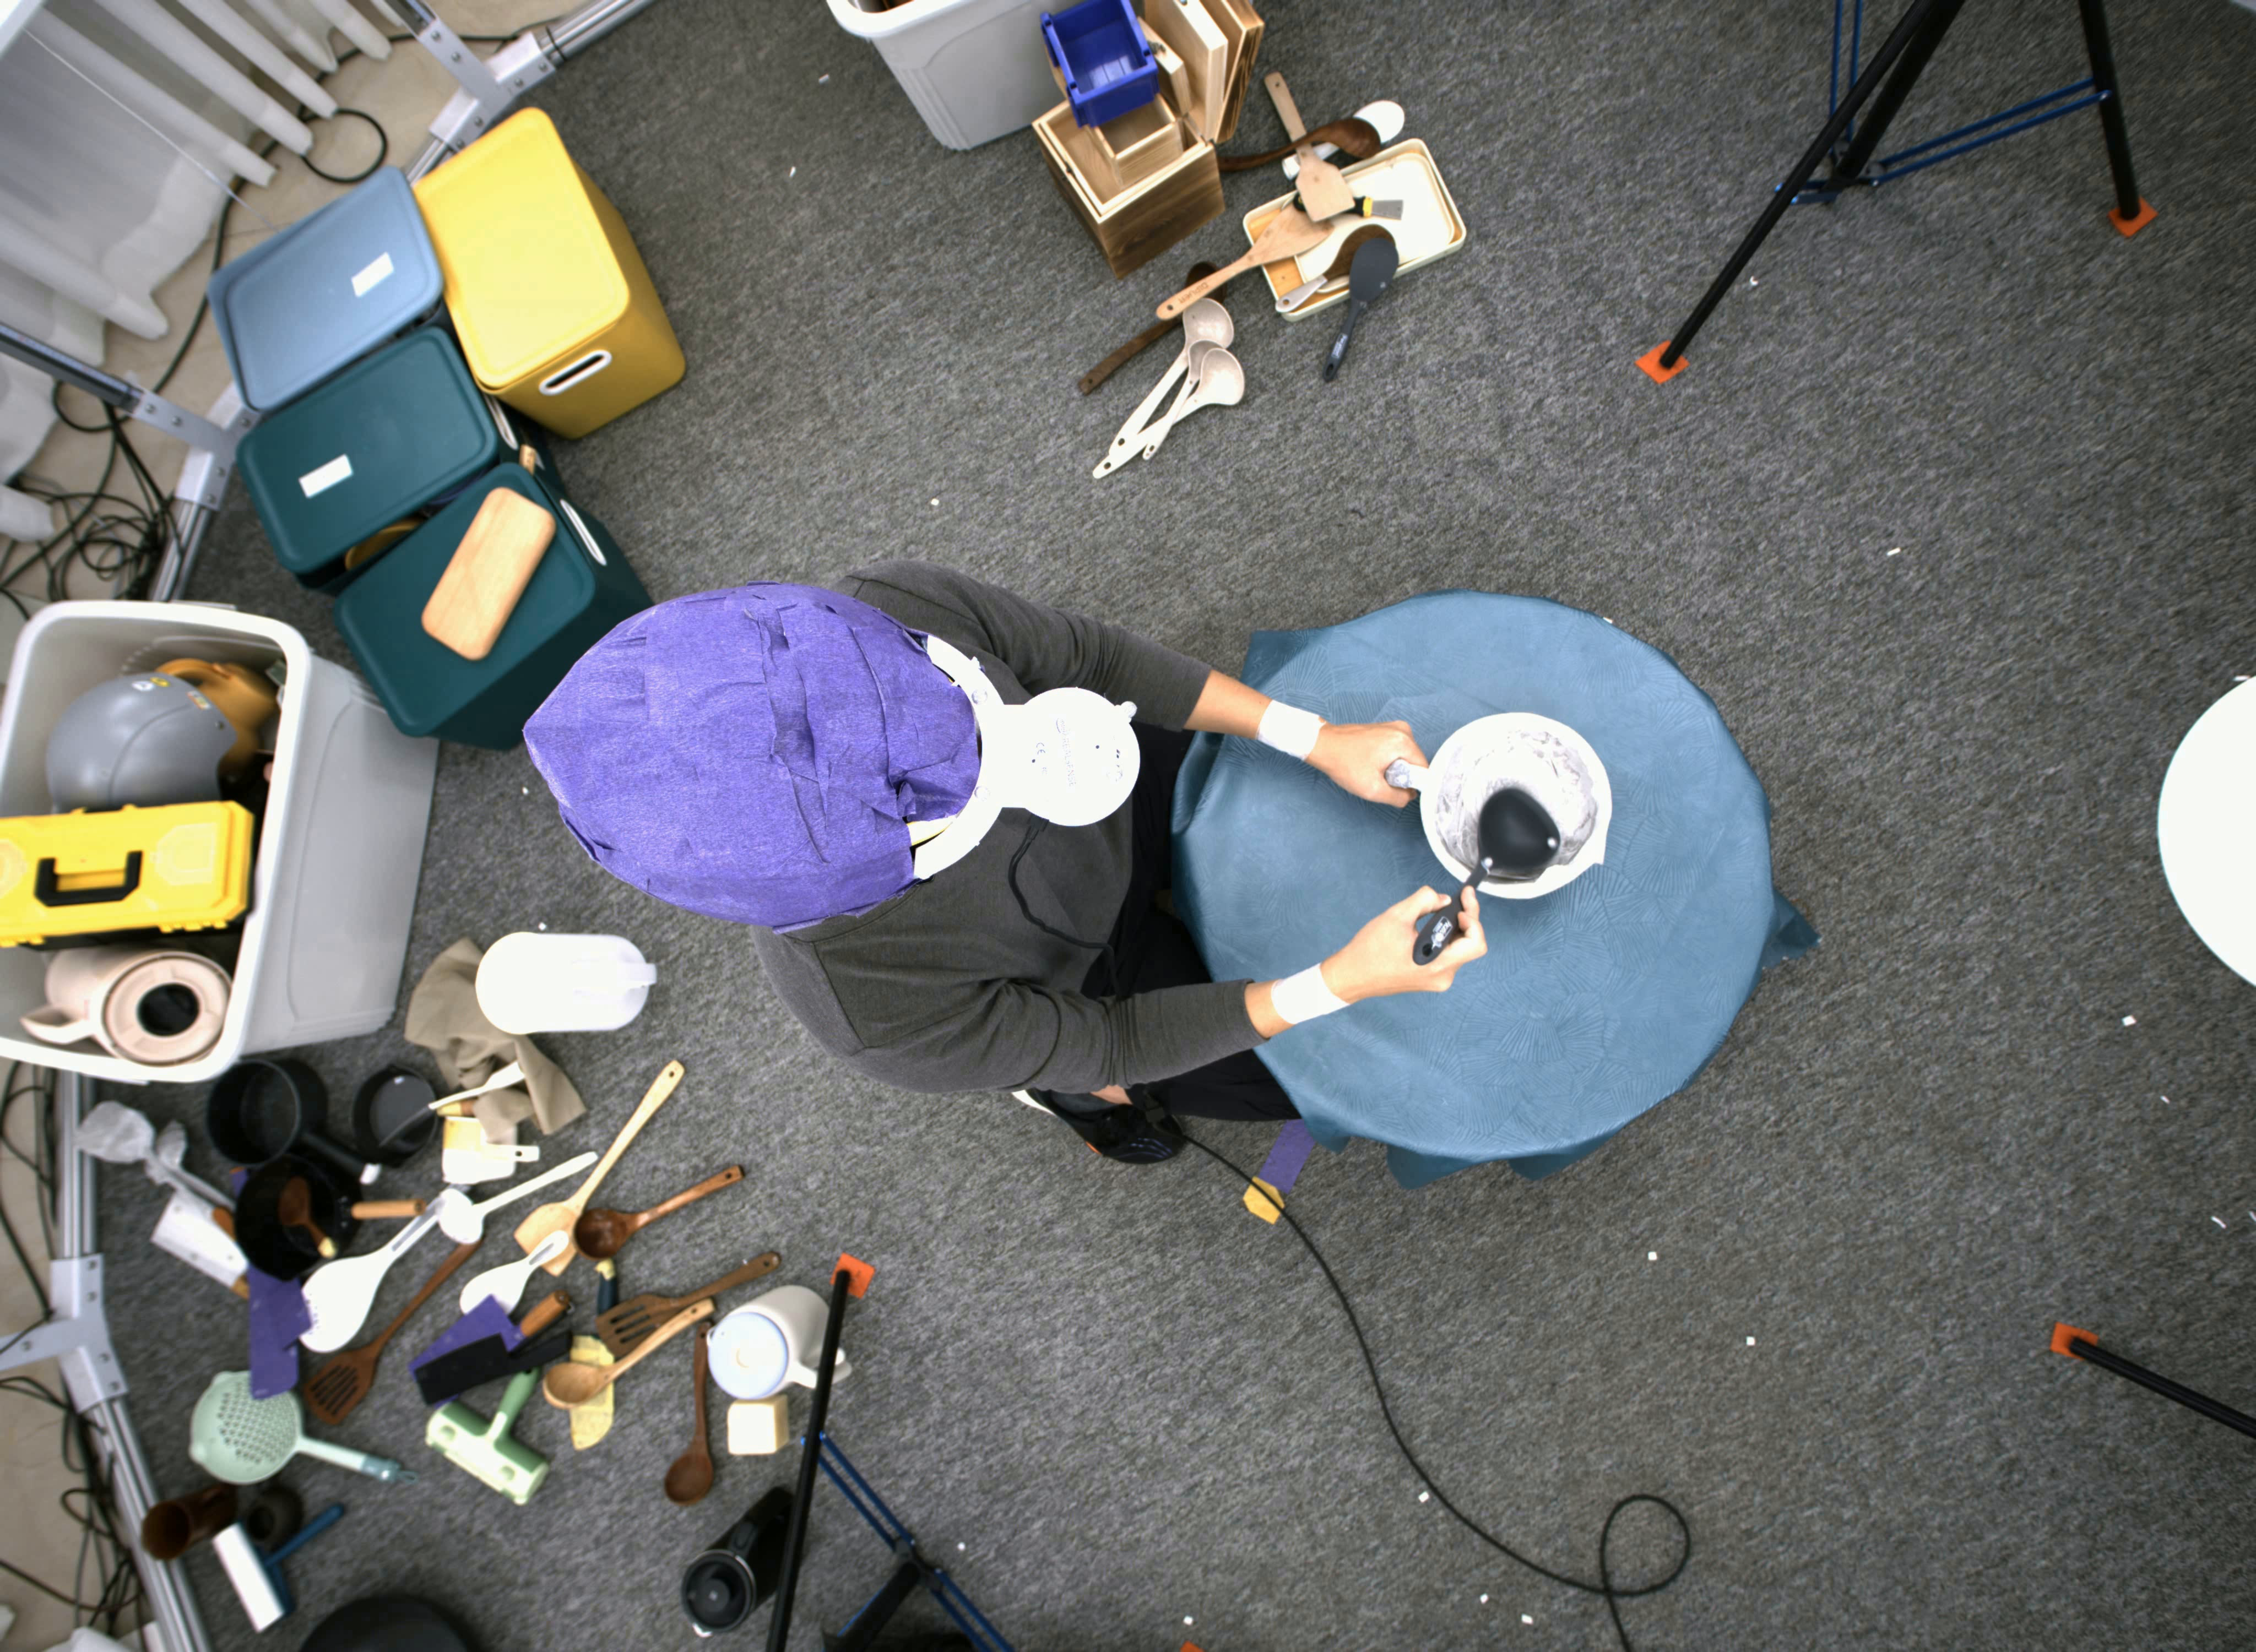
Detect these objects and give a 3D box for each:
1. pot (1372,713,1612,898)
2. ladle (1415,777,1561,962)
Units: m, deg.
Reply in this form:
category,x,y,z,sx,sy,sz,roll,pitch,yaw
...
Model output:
category,x,y,z,sx,sy,sz,roll,pitch,yaw
pot,0.357,-0.033,1.371,0.234,0.135,0.180,15,99,12
ladle,0.325,0.039,1.256,0.086,0.307,0.065,42,125,7
